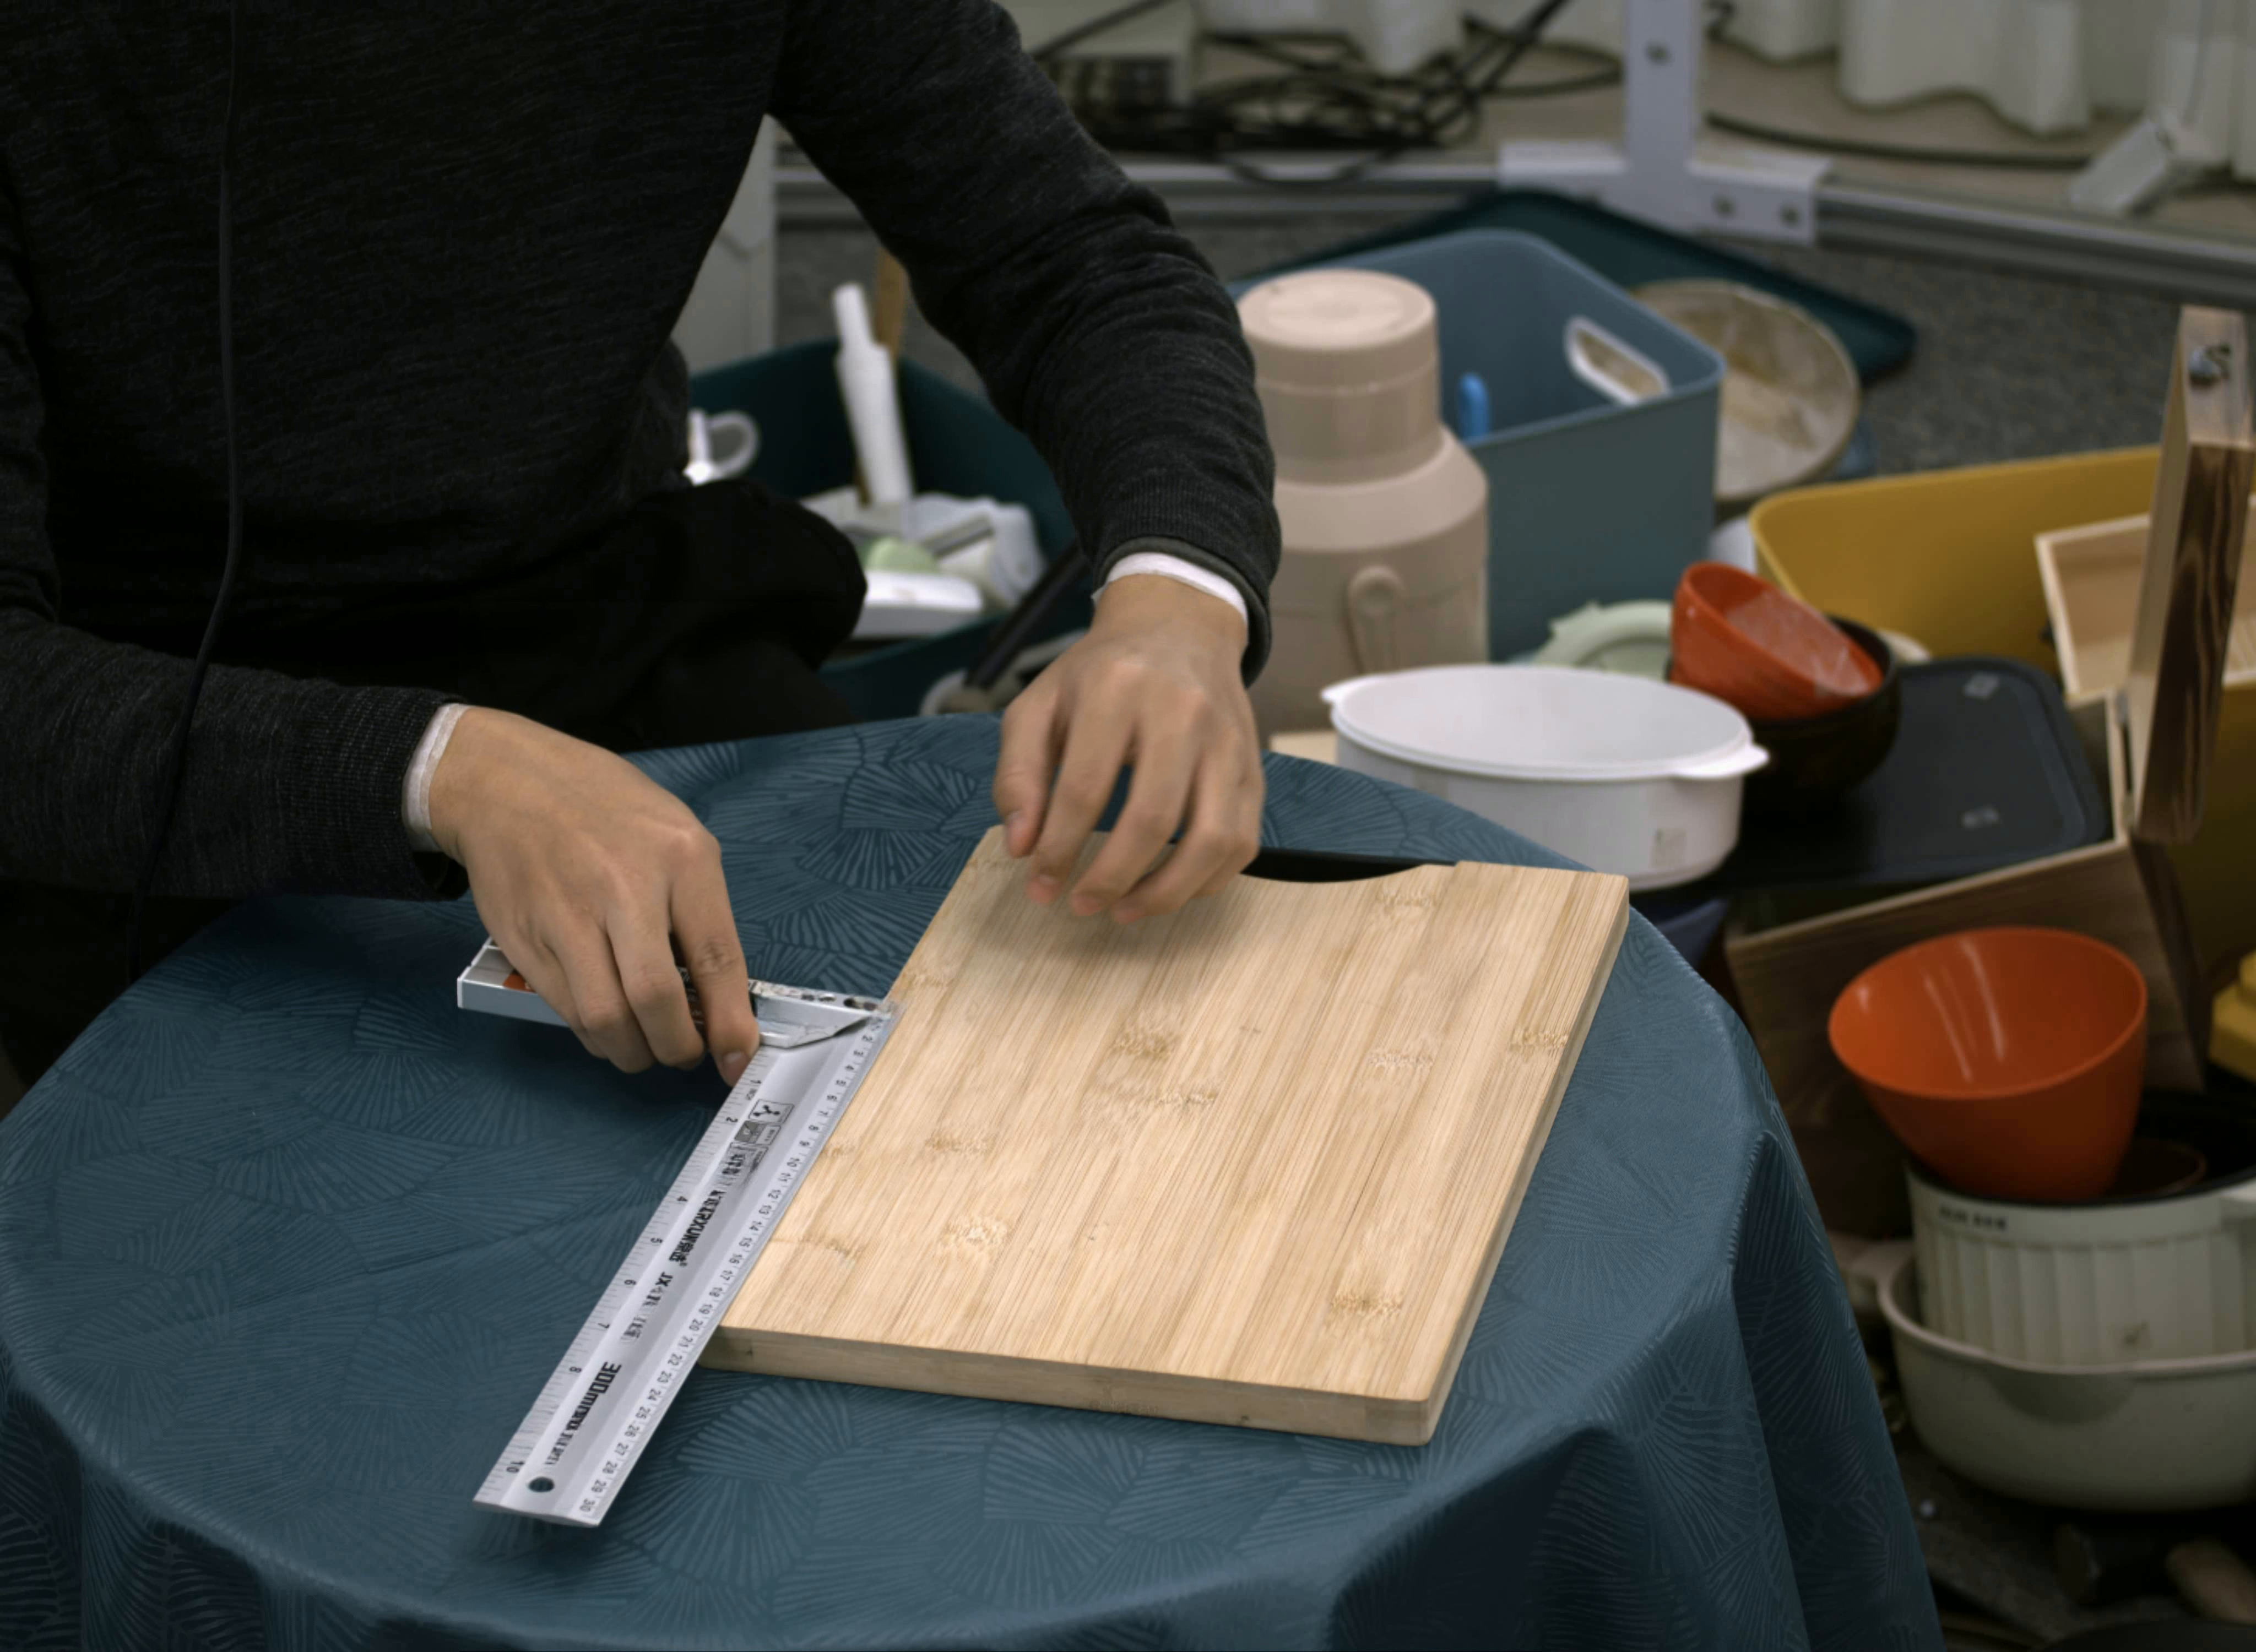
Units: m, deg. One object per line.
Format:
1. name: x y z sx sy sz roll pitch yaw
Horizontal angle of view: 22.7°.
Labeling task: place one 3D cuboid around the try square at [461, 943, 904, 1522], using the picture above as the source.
1. try square: -0.188 0.126 1.821 0.151 0.016 0.318 8 29 13

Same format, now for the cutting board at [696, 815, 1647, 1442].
1. cutting board: 0.023 0.093 1.896 0.249 0.023 0.355 5 29 13
